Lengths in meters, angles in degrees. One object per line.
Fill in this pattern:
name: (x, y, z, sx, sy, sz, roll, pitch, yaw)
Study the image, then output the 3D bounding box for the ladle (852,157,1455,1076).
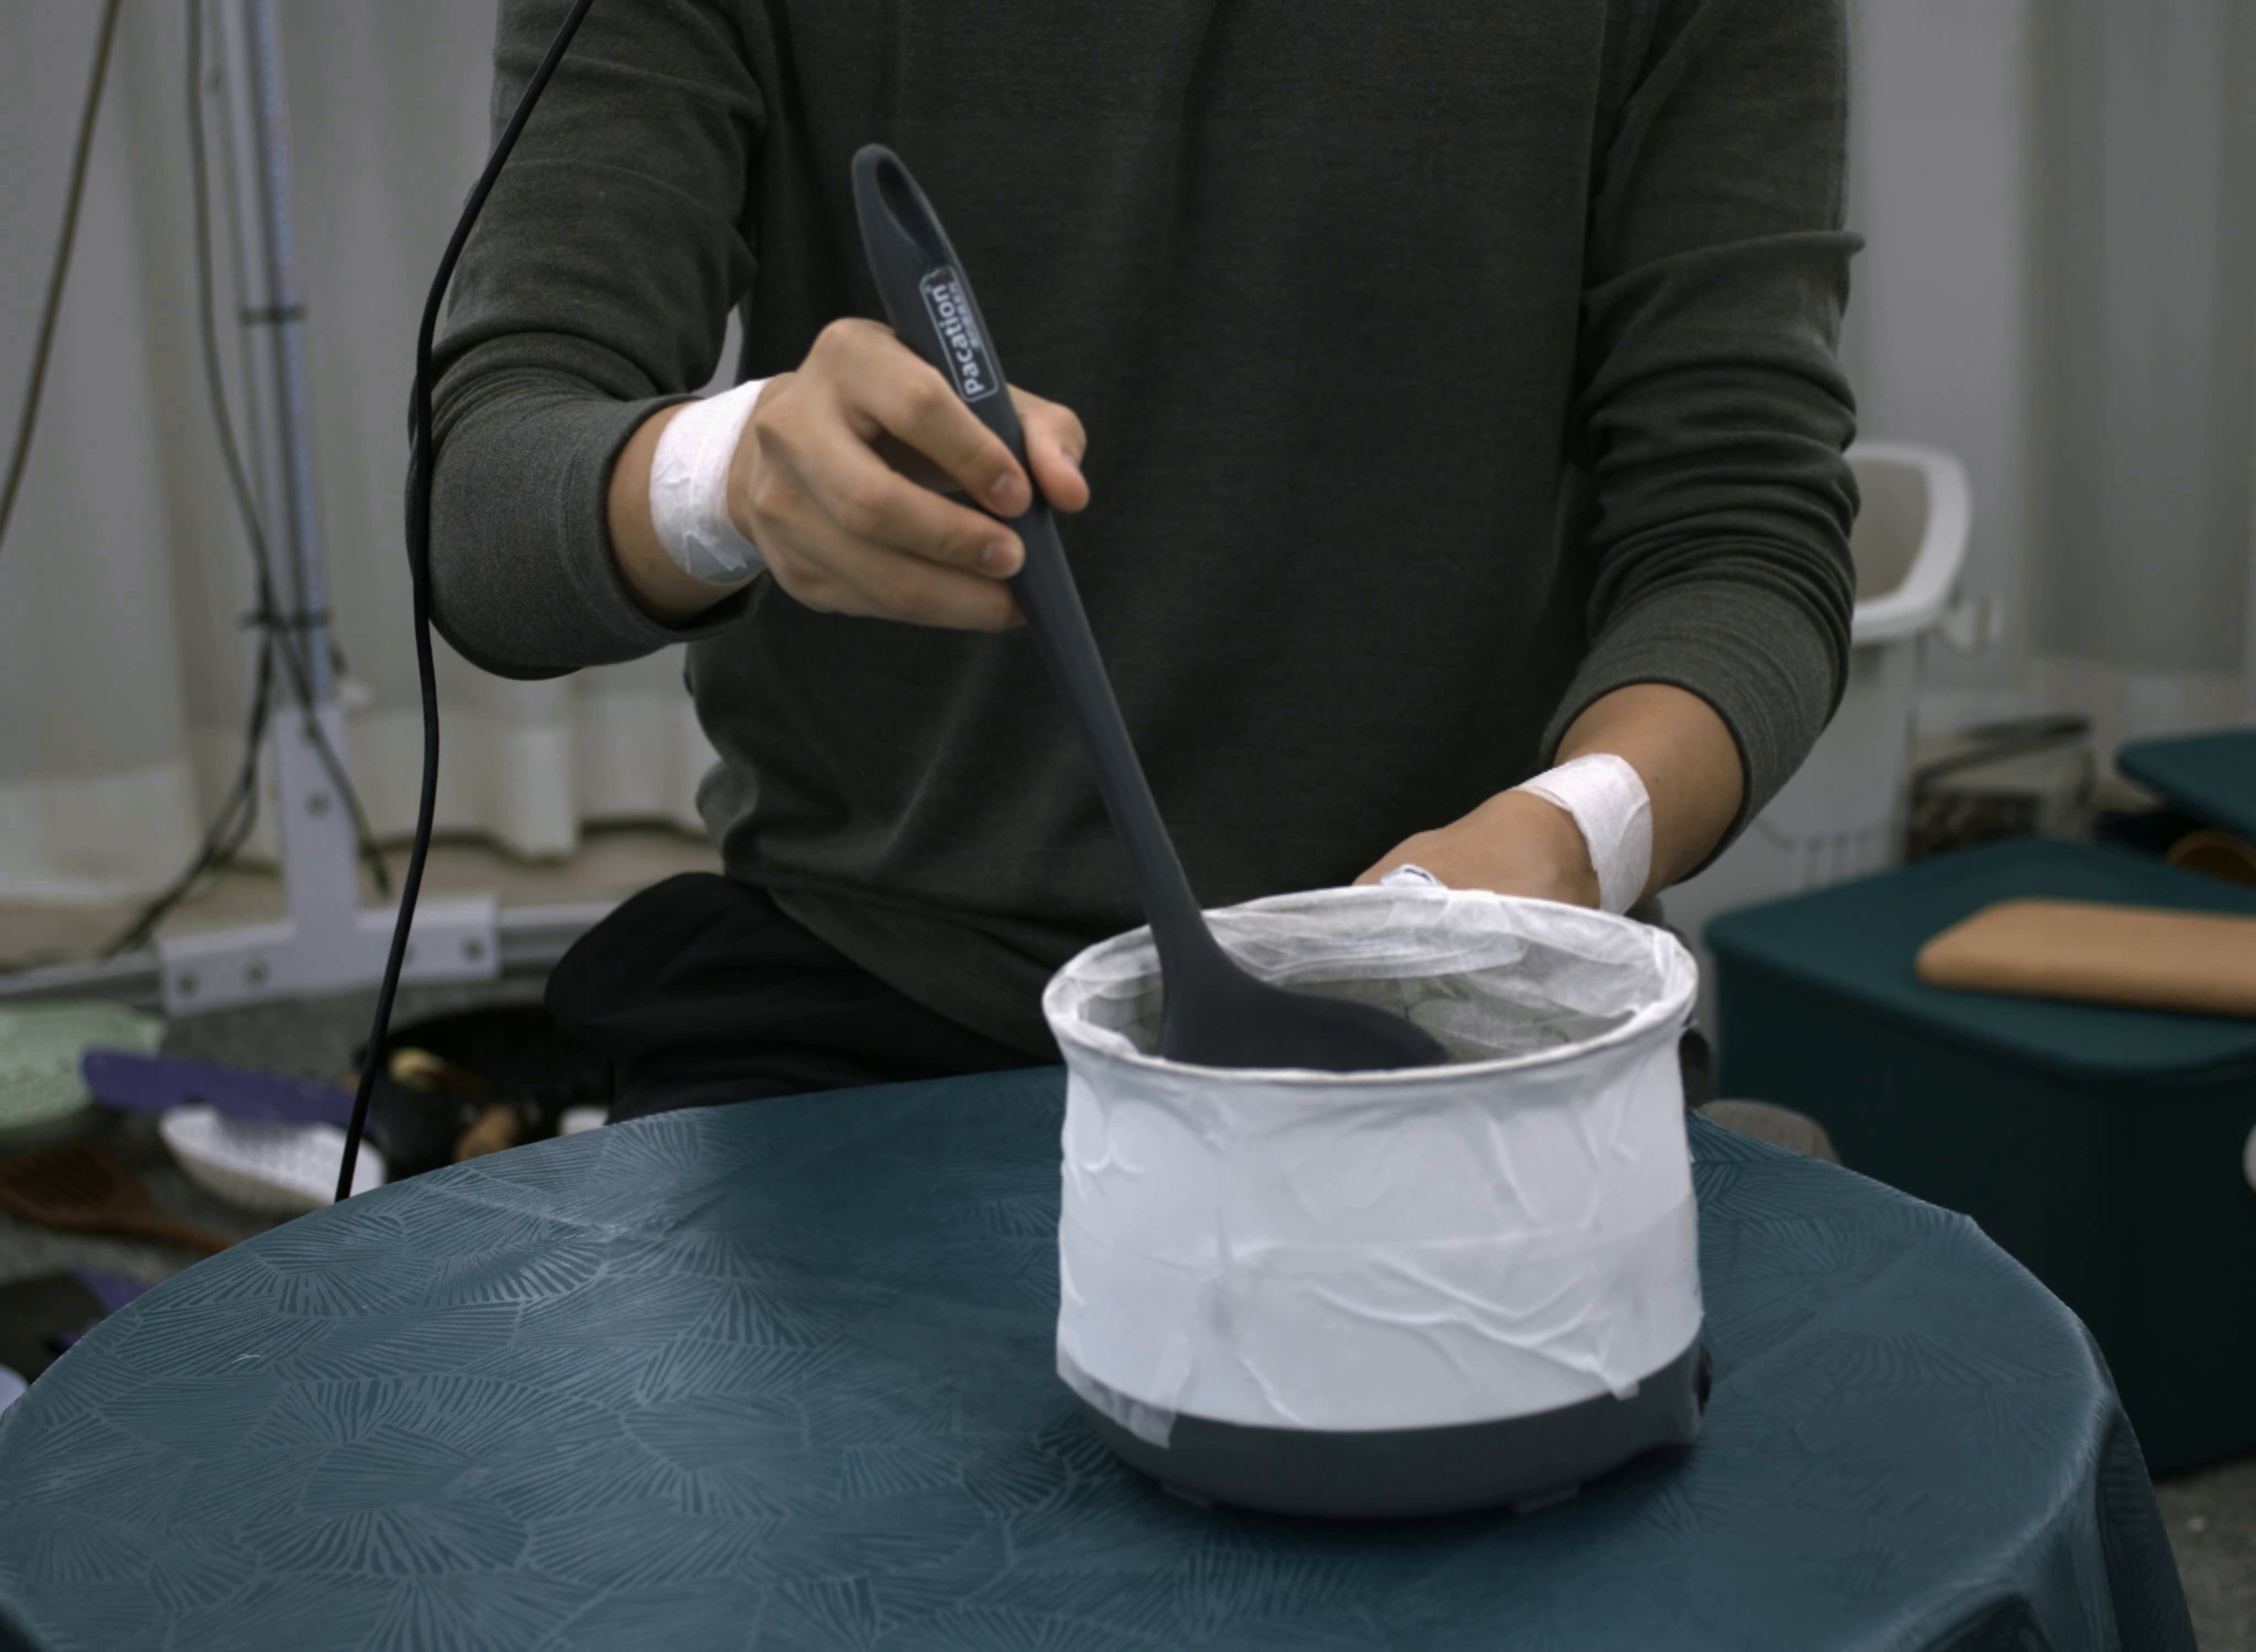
ladle: (-0.001, -0.042, 1.498, 0.086, 0.314, 0.064, -23, 2, -35)

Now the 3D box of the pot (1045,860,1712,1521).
pot: (0.072, 0.095, 1.512, 0.178, 0.136, 0.235, 0, 15, 9)
